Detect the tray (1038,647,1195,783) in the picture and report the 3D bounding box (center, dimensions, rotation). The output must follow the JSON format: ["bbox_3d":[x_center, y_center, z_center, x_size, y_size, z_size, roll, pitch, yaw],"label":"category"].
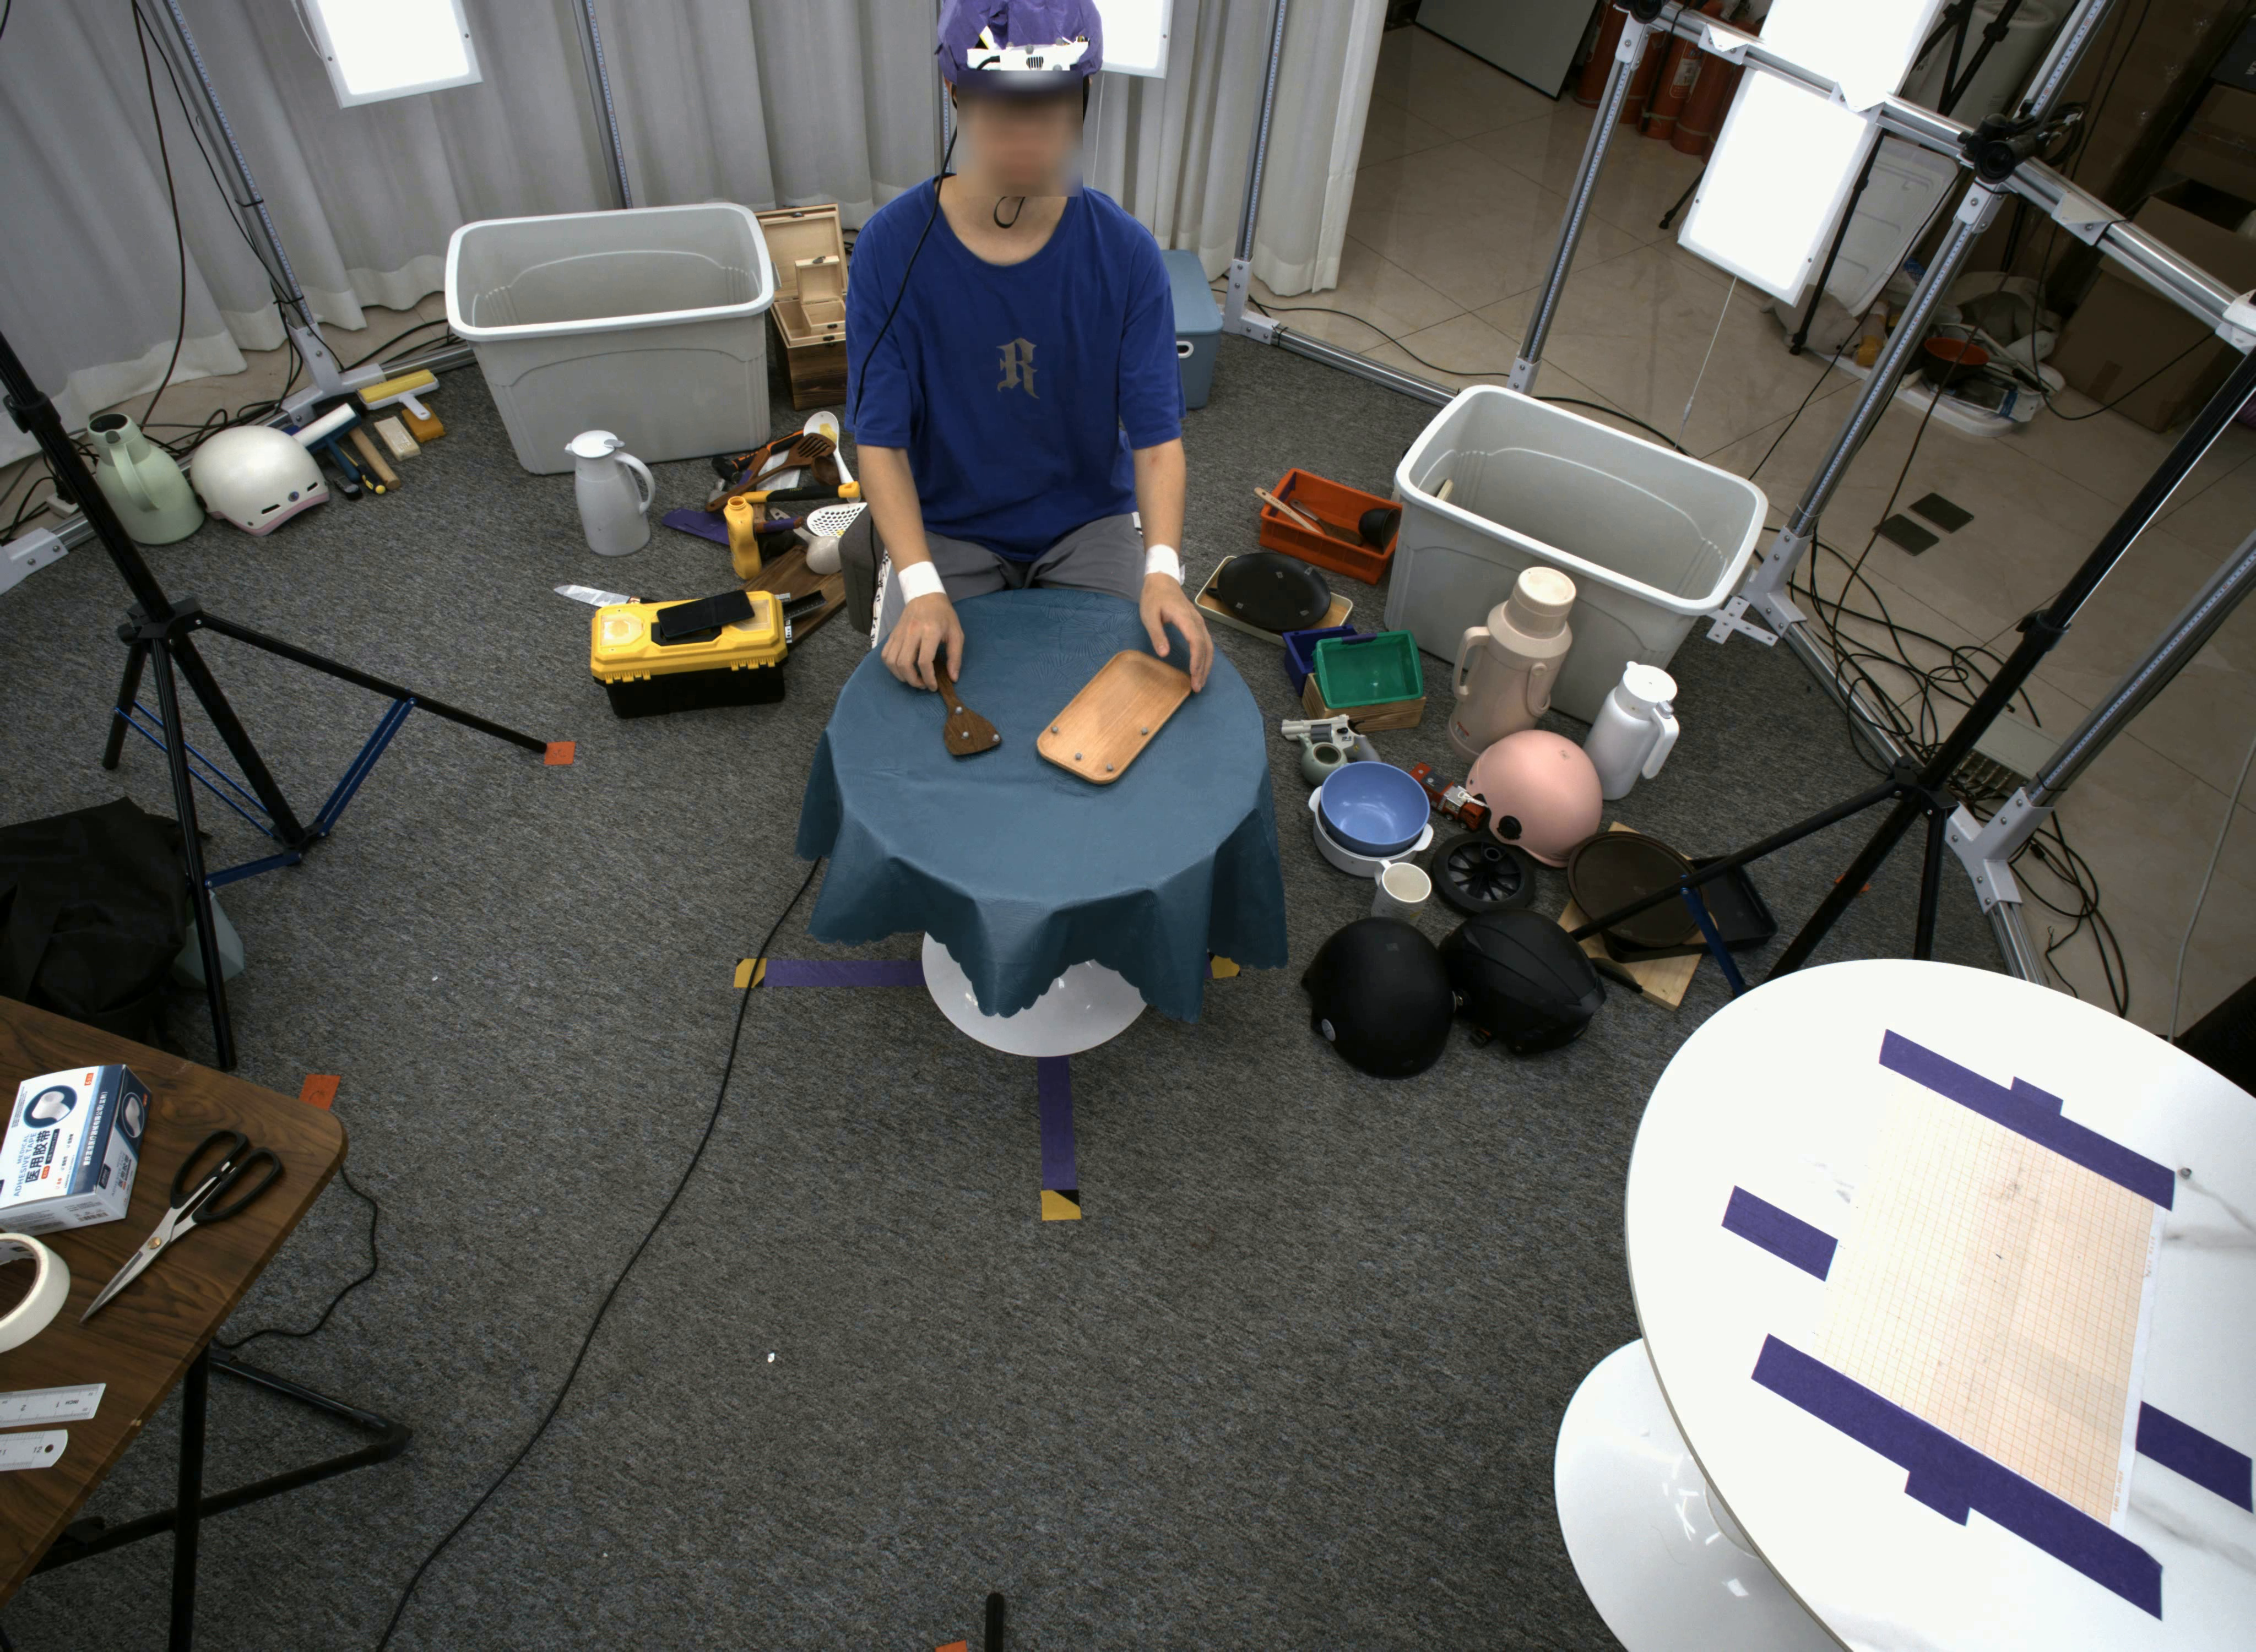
[{"bbox_3d":[-0.014,-0.158,1.797,0.132,0.022,0.254,29,53,17],"label":"tray"}]

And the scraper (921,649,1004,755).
[{"bbox_3d":[-0.244,-0.177,1.802,0.076,0.010,0.216,-17,53,-19],"label":"scraper"}]
